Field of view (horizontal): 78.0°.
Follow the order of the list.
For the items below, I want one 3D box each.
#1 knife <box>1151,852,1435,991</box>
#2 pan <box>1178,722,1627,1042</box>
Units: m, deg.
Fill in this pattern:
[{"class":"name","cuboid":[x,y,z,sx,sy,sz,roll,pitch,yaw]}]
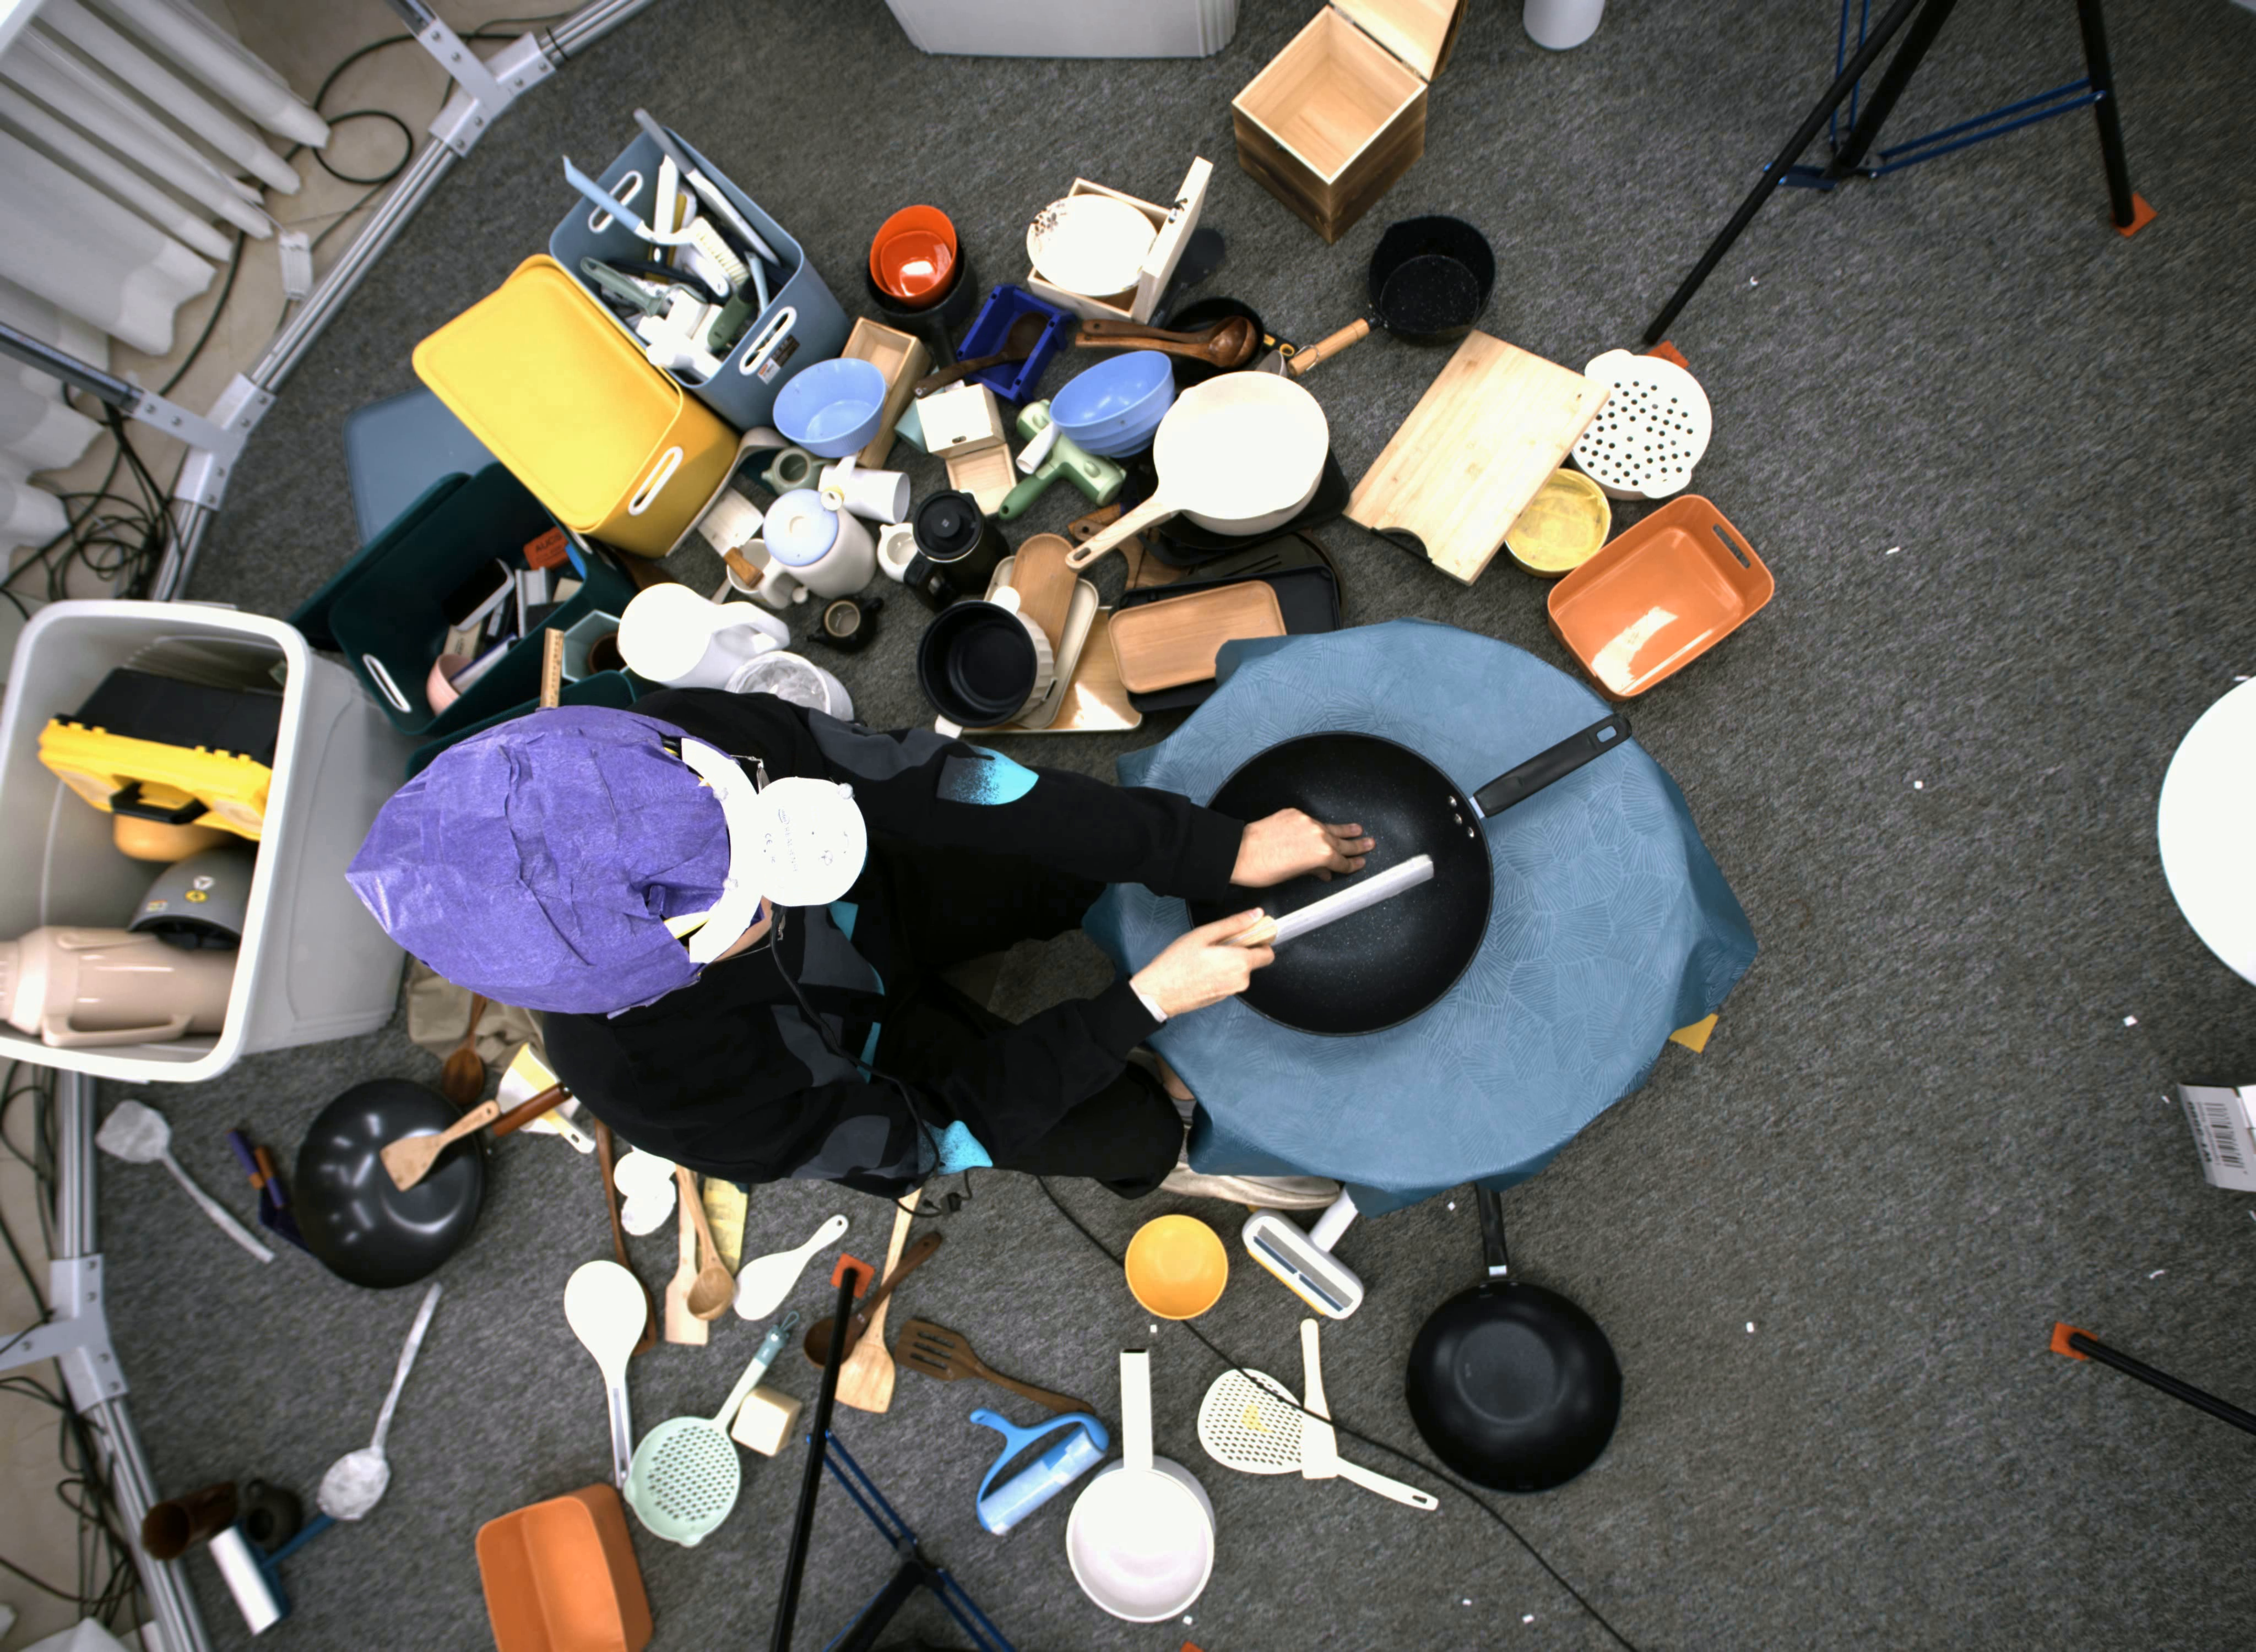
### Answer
[{"class":"knife","cuboid":[0.170,0.094,1.391,0.315,0.115,0.021,-22,70,-2]},{"class":"pan","cuboid":[0.282,0.023,1.407,0.479,0.111,0.308,-29,84,8]}]
